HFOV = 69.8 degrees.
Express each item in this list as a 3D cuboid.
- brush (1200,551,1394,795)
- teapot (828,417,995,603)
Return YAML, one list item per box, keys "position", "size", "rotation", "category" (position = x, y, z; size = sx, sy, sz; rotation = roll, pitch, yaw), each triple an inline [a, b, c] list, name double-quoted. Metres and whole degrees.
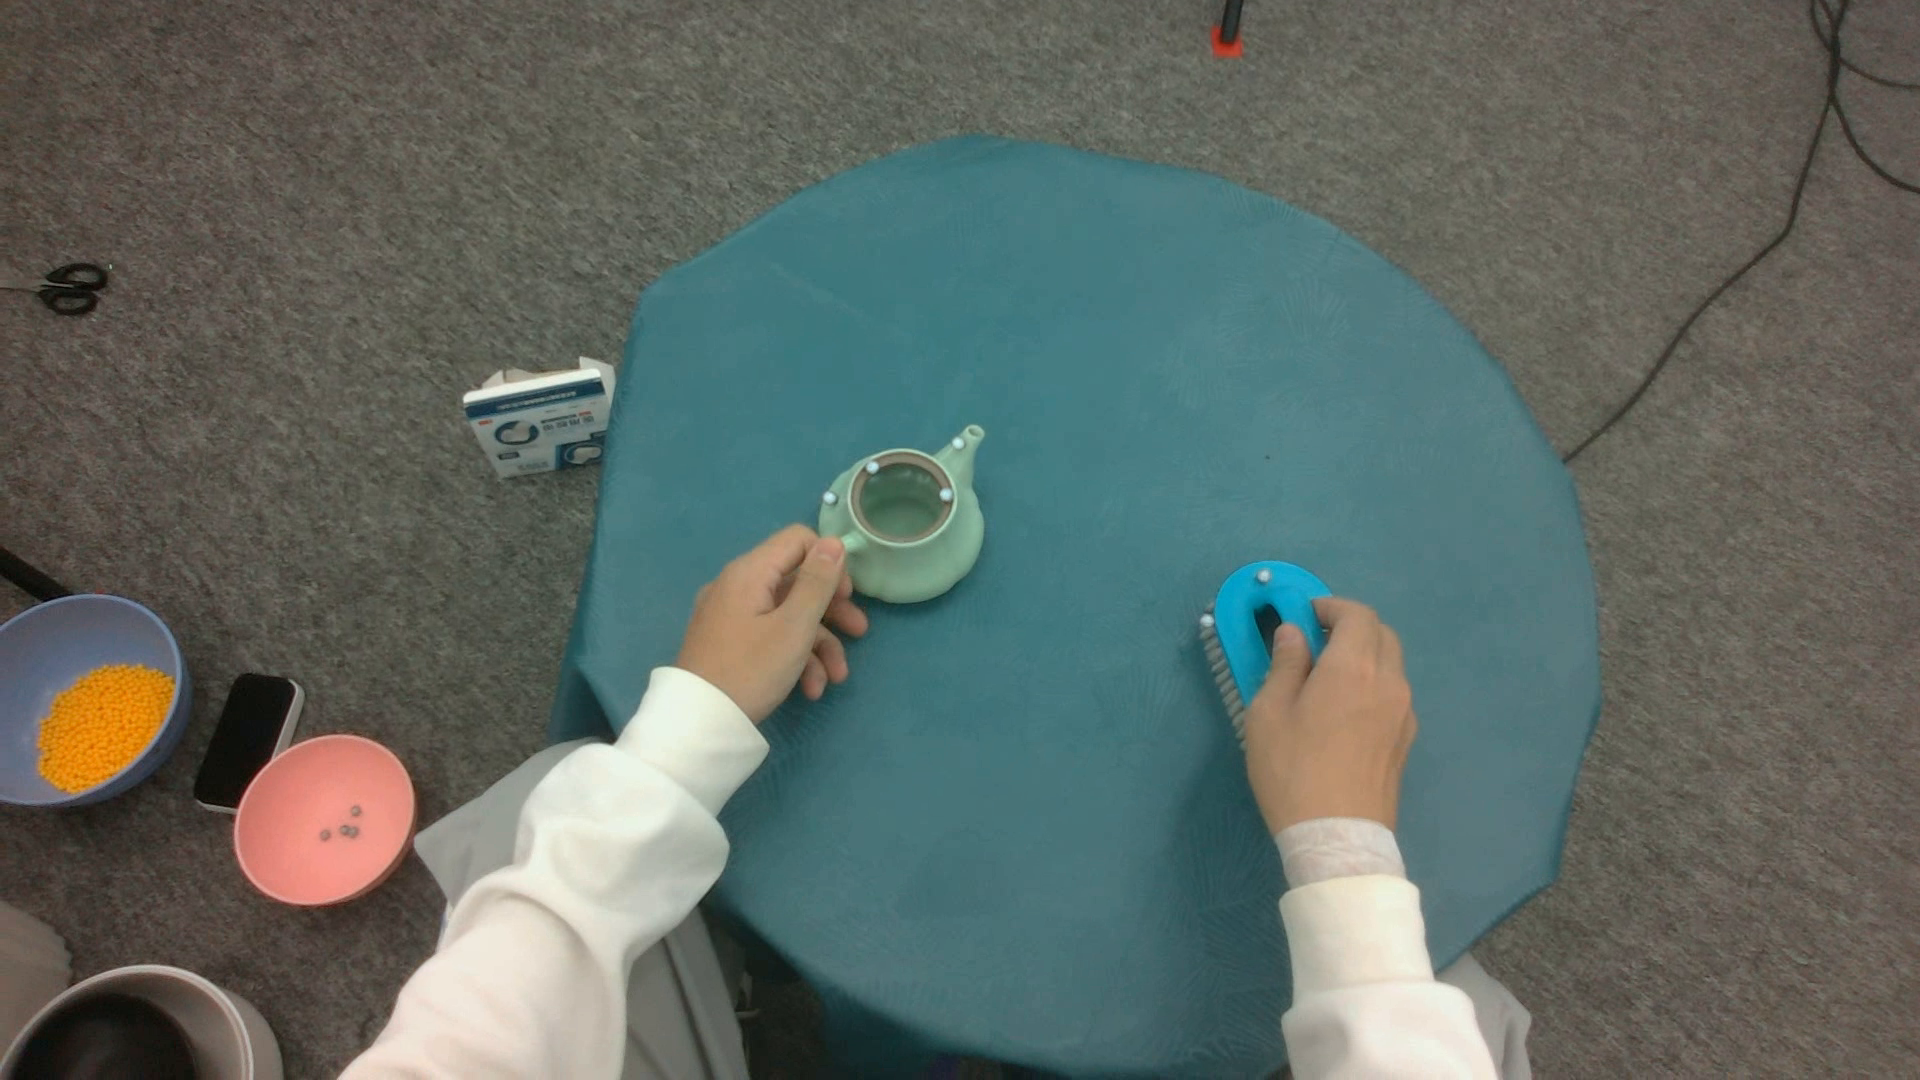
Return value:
- position: [0.194, 0.067, 0.774]
  size: [0.084, 0.063, 0.142]
  rotation: [-11, 66, -13]
  category: "brush"
- position: [-0.030, -0.012, 0.806]
  size: [0.096, 0.061, 0.137]
  rotation: [40, 71, 10]
  category: "teapot"
